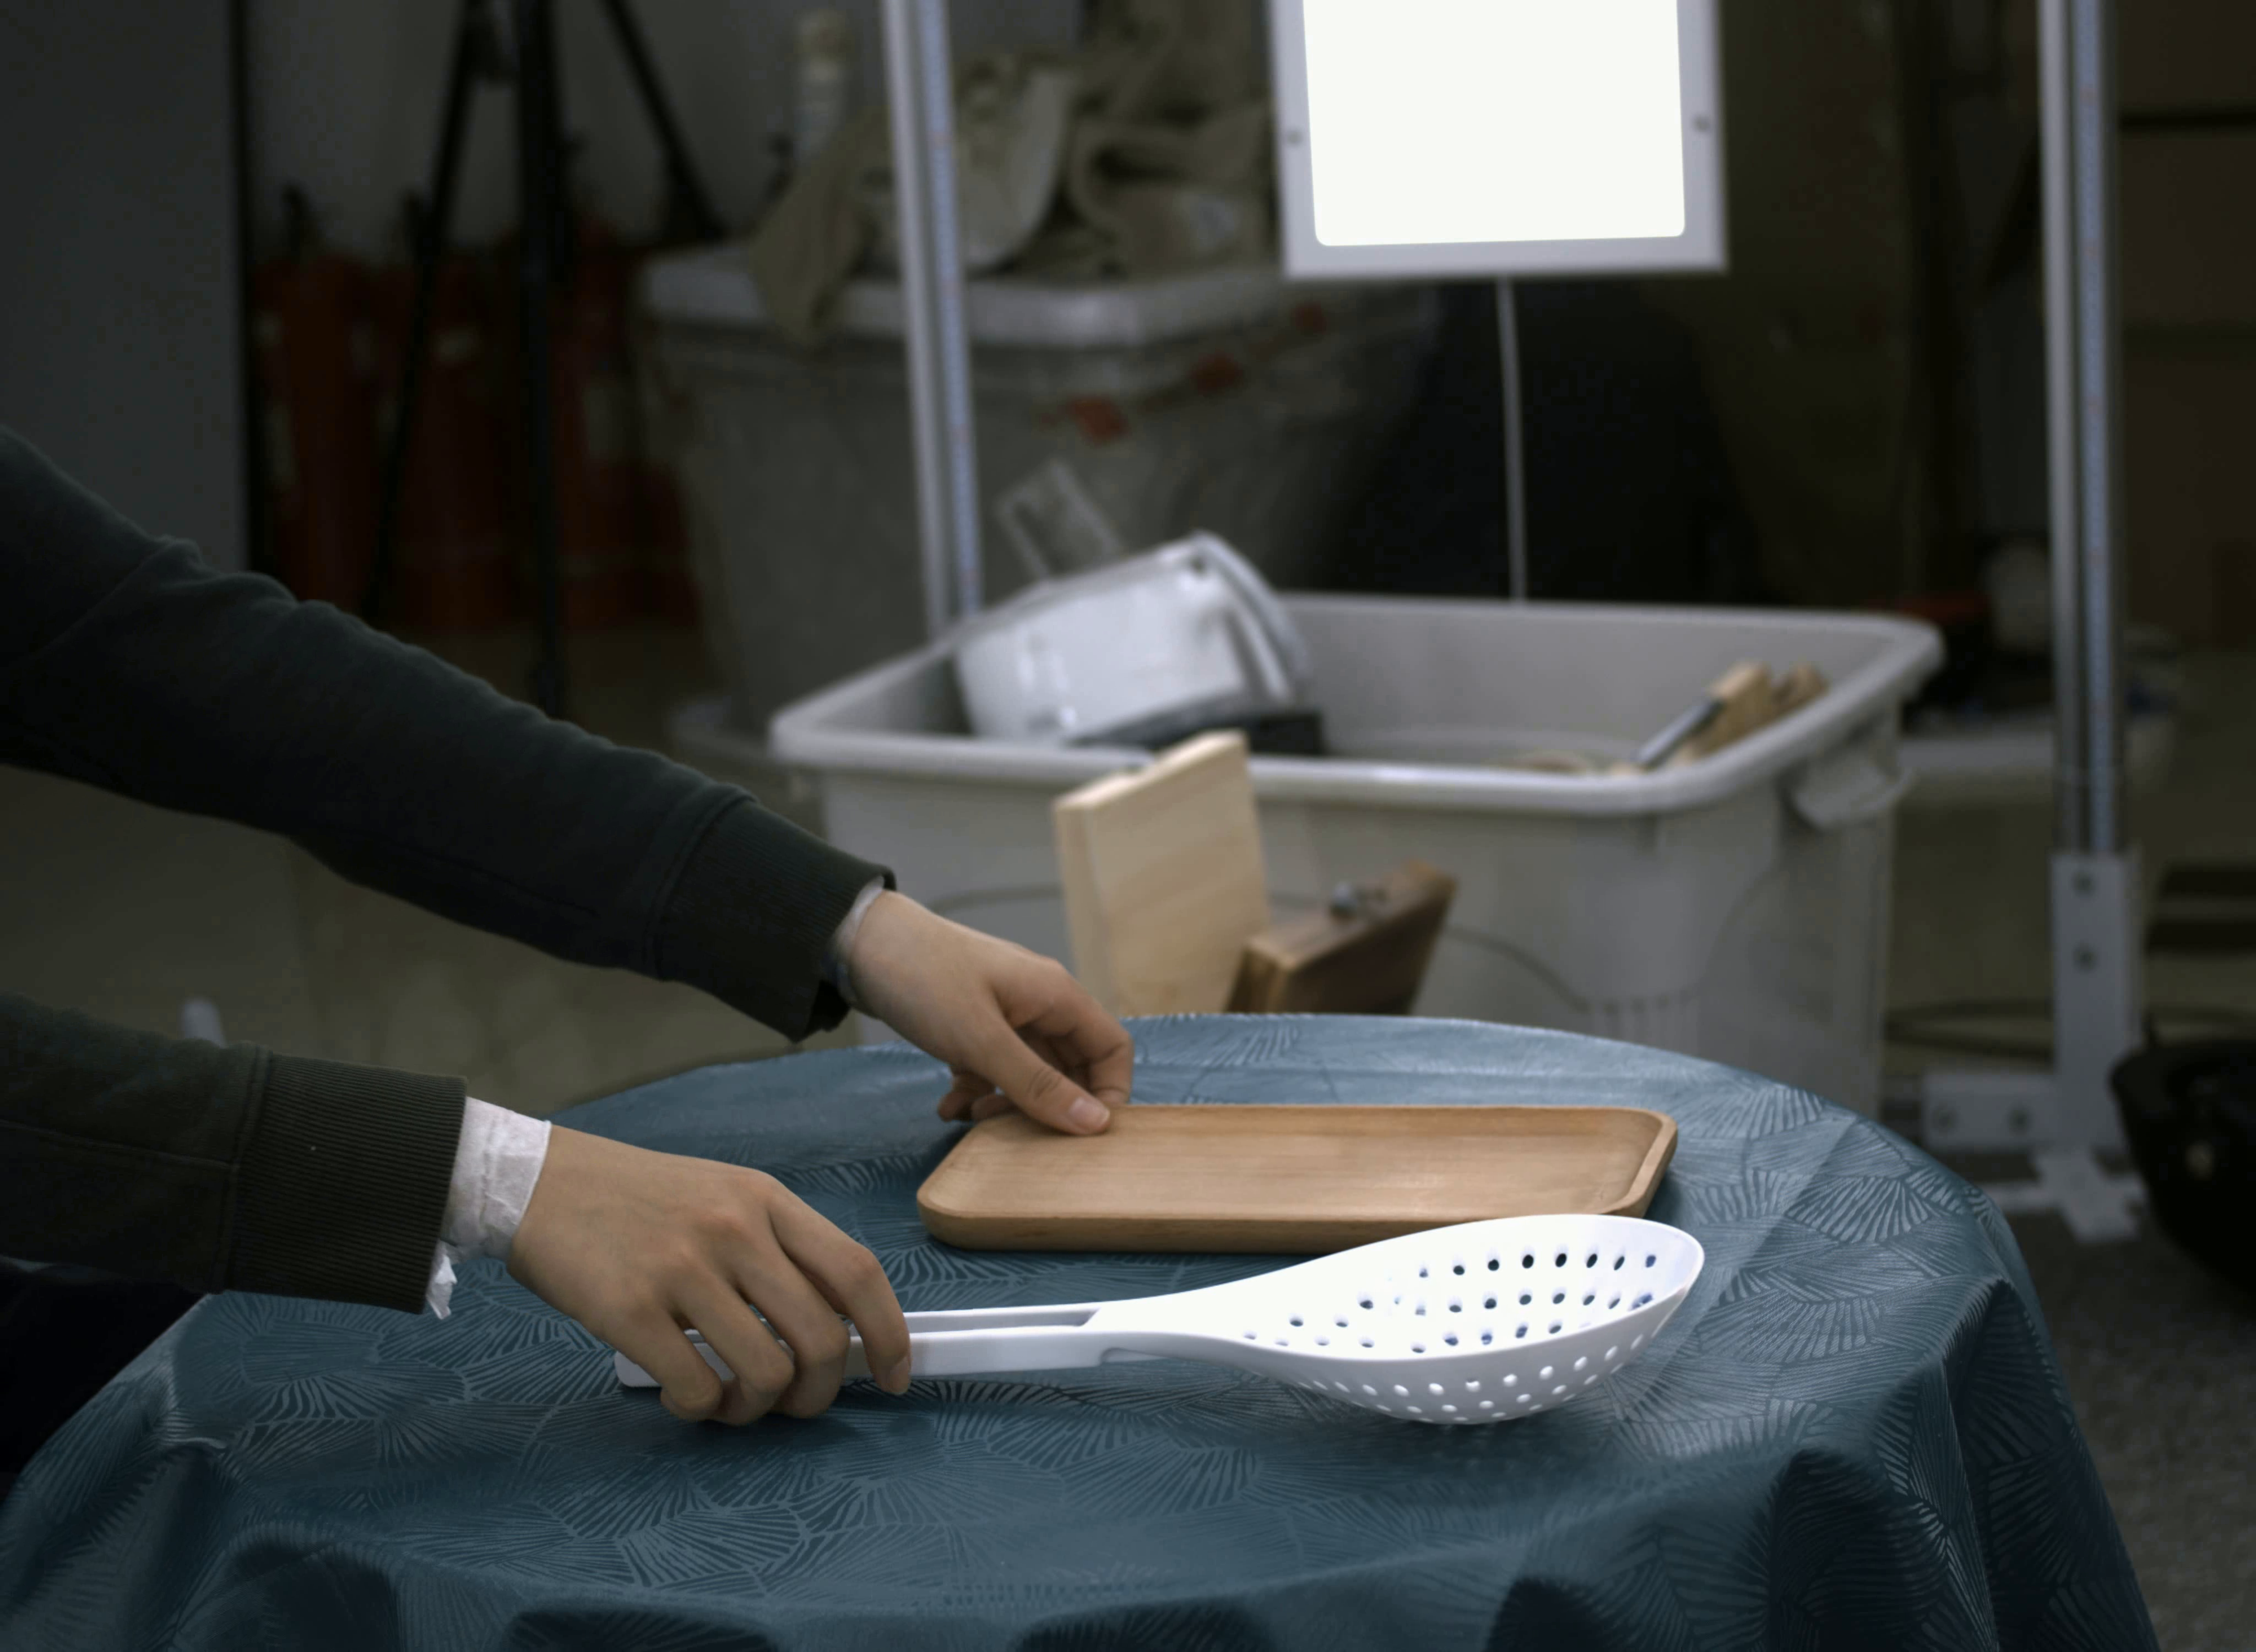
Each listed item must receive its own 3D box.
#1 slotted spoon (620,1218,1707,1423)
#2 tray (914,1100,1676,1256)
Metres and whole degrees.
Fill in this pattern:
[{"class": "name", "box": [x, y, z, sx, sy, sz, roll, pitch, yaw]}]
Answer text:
[{"class": "slotted spoon", "box": [0.006, 0.154, 1.688, 0.354, 0.046, 0.134, -1, 12, 20]}, {"class": "tray", "box": [0.058, 0.119, 1.871, 0.253, 0.023, 0.128, -2, 12, 17]}]
